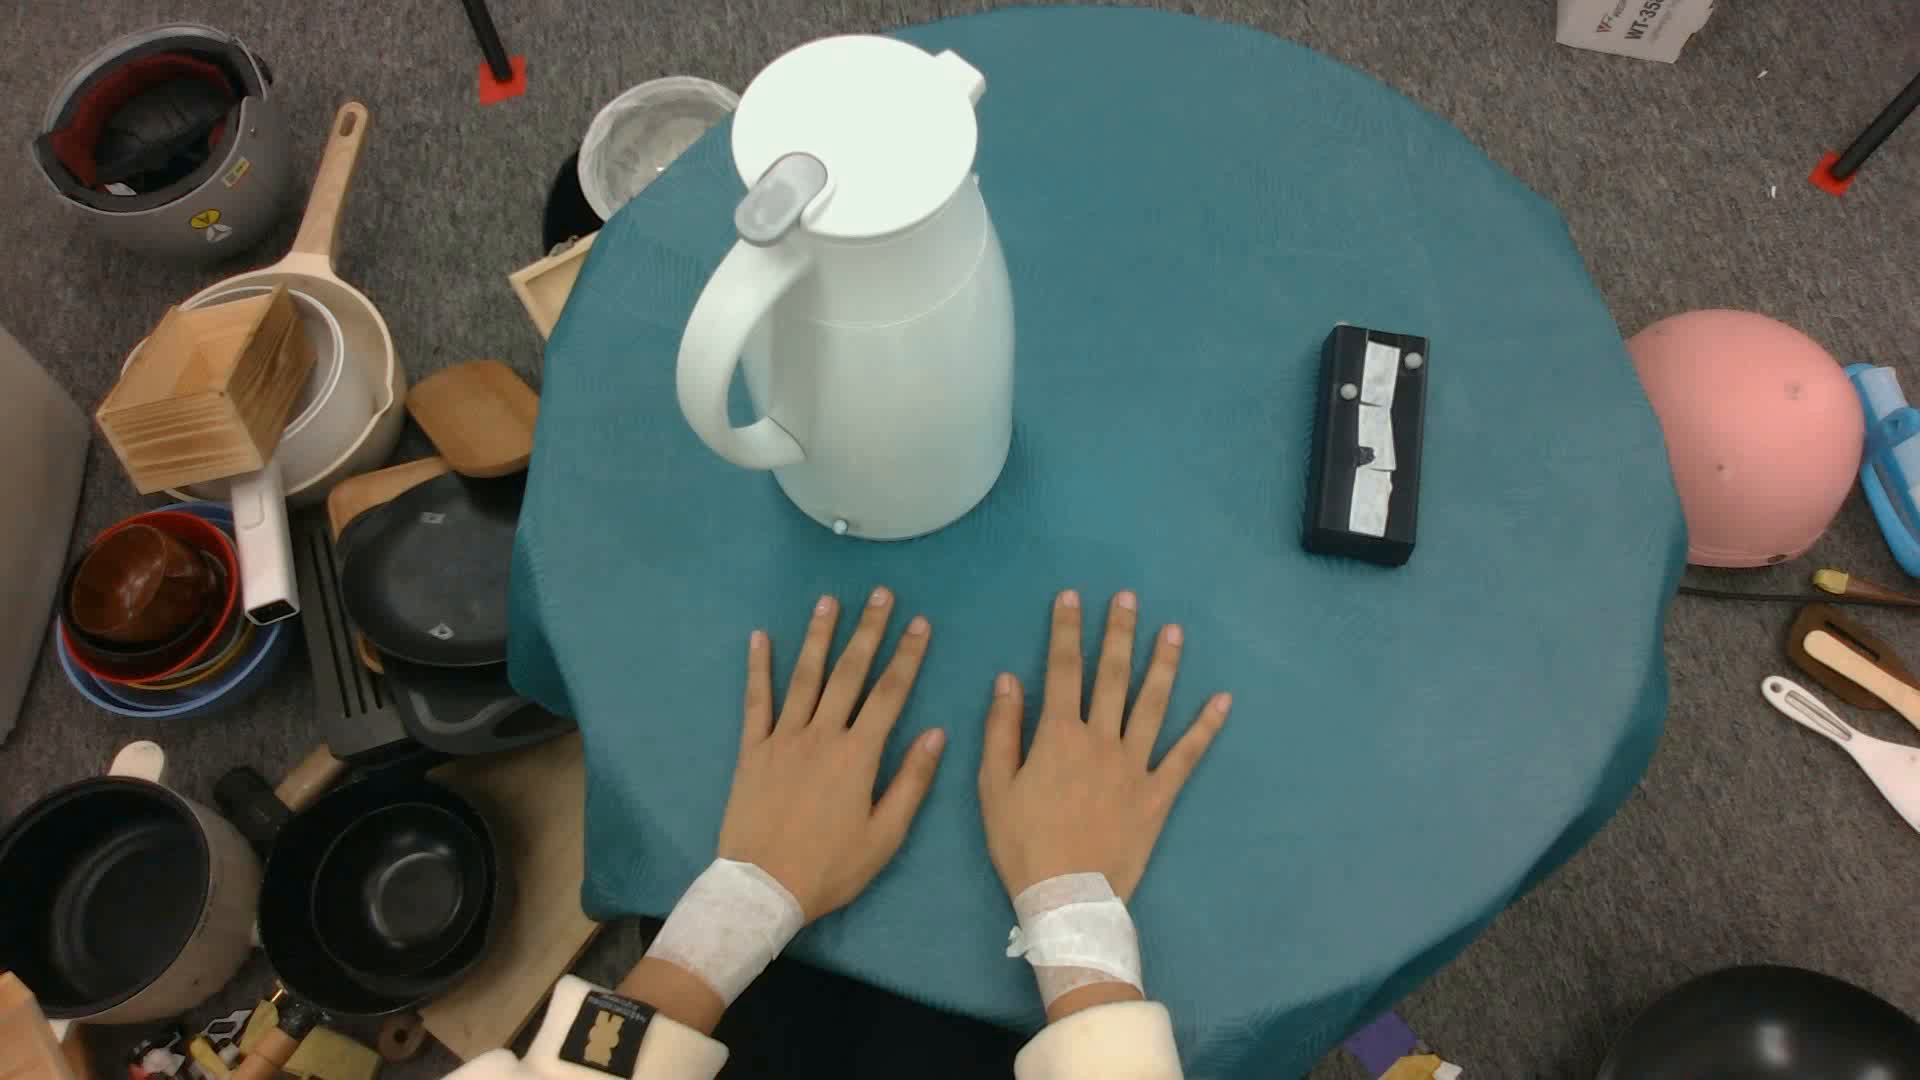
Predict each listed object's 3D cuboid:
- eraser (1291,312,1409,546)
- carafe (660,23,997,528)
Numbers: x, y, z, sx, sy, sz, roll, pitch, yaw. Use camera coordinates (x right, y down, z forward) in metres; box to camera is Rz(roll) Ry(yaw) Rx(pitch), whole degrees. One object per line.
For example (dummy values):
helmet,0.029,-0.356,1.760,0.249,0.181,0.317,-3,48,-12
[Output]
eraser,0.204,-0.060,0.721,0.053,0.030,0.126,8,67,4
carafe,-0.059,-0.099,0.614,0.132,0.248,0.168,39,73,14
